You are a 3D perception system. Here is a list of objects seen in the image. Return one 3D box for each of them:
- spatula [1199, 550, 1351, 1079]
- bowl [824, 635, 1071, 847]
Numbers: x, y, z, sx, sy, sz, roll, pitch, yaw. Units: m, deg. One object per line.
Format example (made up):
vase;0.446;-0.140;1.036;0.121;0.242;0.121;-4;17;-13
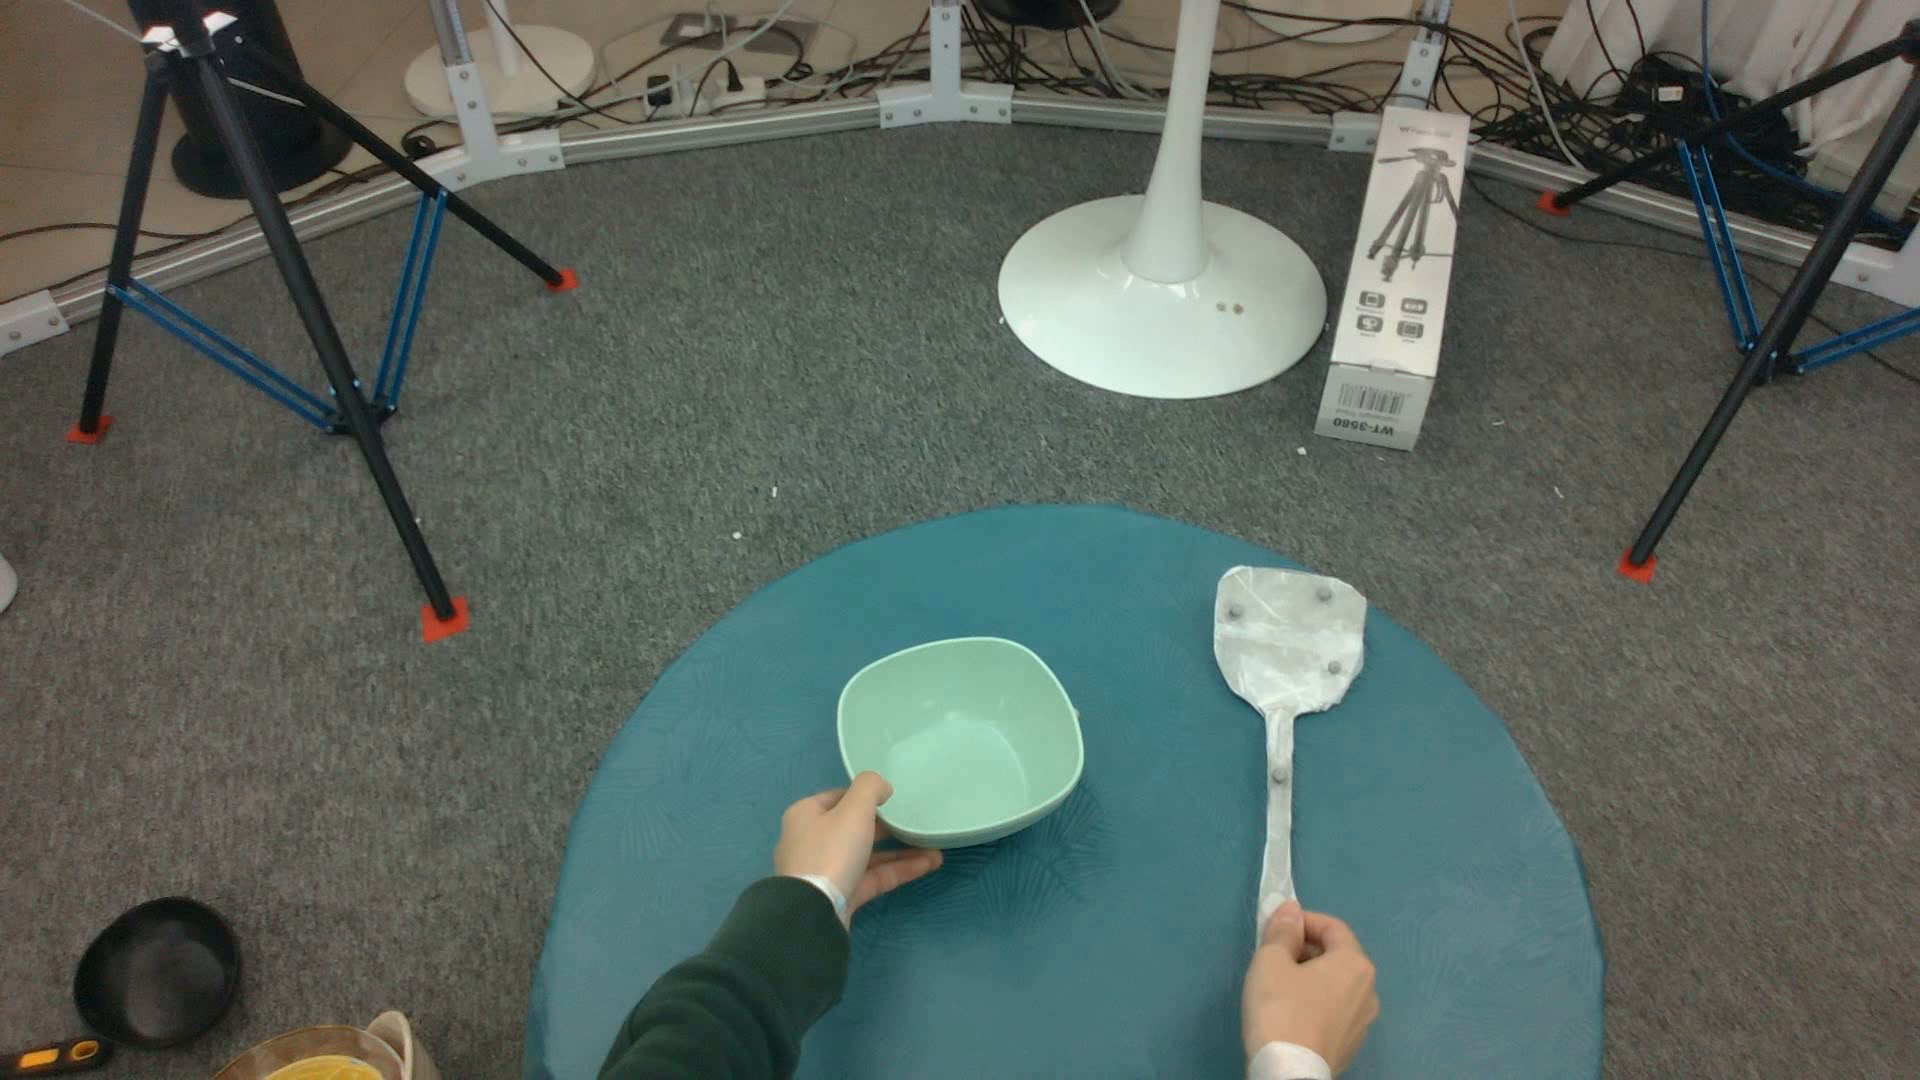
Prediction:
spatula;0.177;0.149;0.812;0.098;0.044;0.367;11;45;5
bowl;-0.008;0.128;0.817;0.151;0.058;0.152;0;44;0
